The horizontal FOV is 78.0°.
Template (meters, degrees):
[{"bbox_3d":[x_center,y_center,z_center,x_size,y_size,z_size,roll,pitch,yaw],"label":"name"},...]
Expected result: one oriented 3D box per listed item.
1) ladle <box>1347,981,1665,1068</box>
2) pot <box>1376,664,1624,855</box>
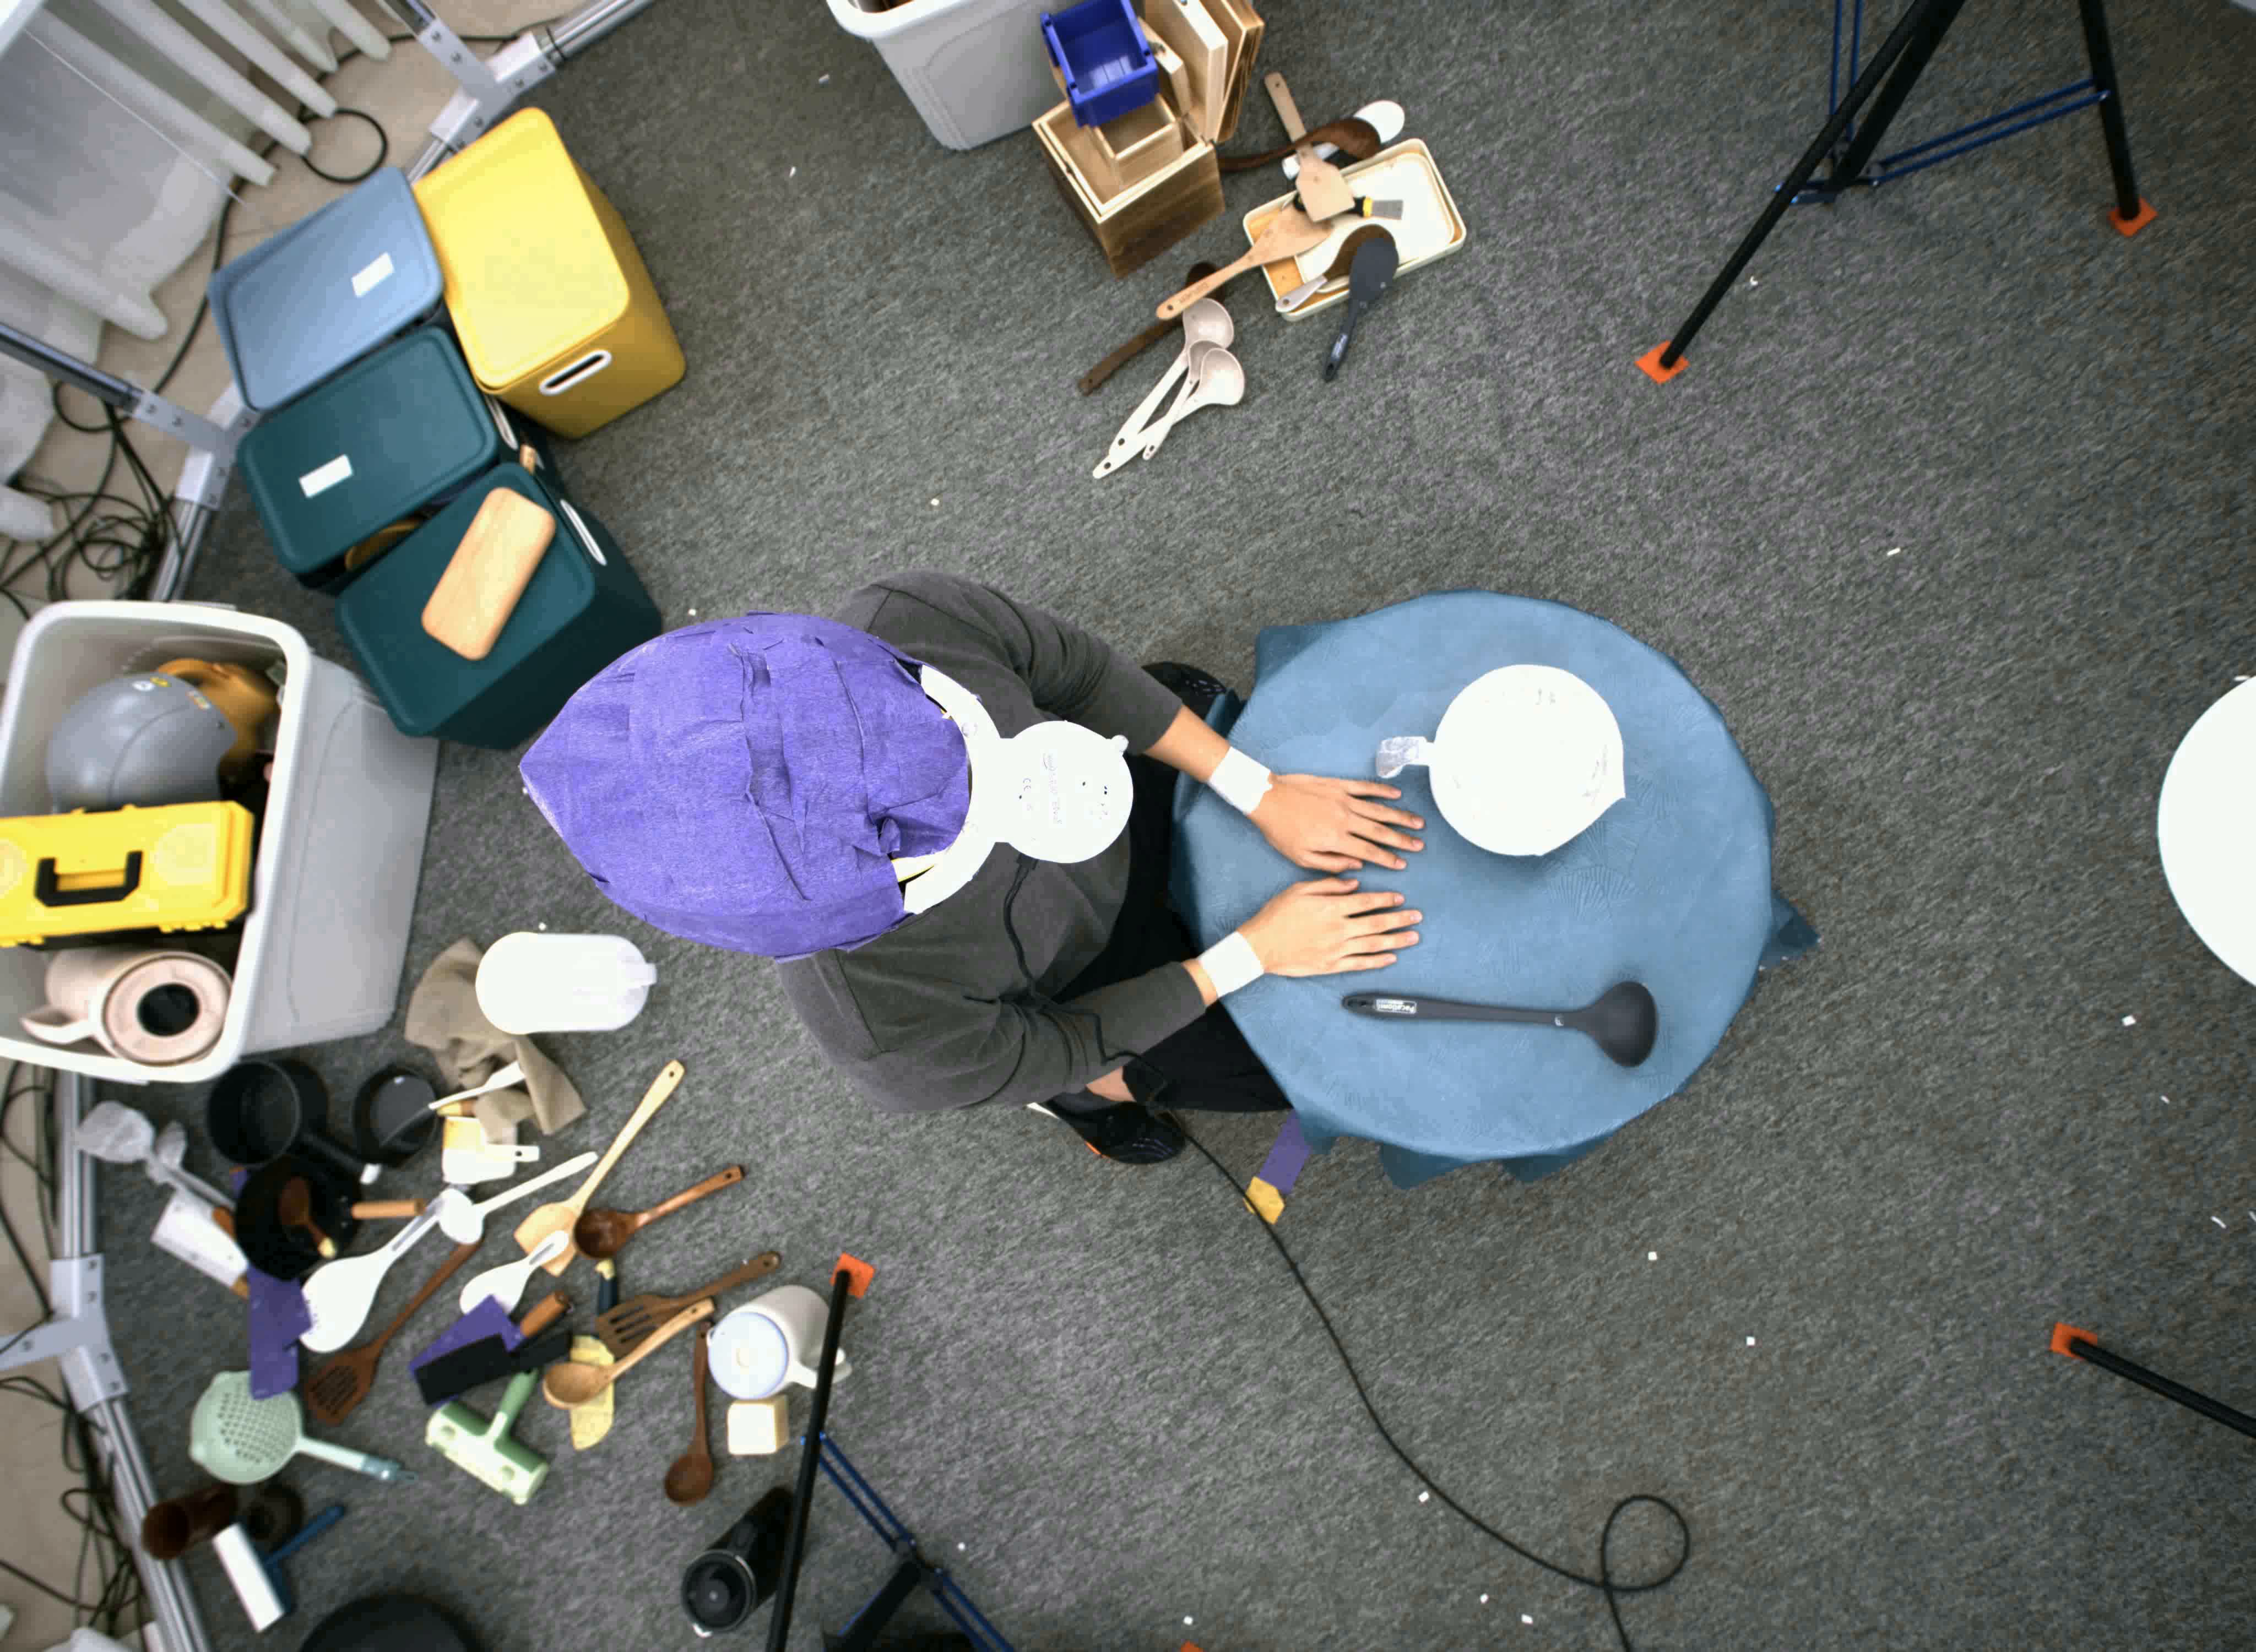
[{"bbox_3d":[0.381,0.189,1.401,0.315,0.064,0.085,3,82,11],"label":"ladle"},{"bbox_3d":[0.367,-0.066,1.380,0.234,0.137,0.178,4,86,11],"label":"pot"}]
